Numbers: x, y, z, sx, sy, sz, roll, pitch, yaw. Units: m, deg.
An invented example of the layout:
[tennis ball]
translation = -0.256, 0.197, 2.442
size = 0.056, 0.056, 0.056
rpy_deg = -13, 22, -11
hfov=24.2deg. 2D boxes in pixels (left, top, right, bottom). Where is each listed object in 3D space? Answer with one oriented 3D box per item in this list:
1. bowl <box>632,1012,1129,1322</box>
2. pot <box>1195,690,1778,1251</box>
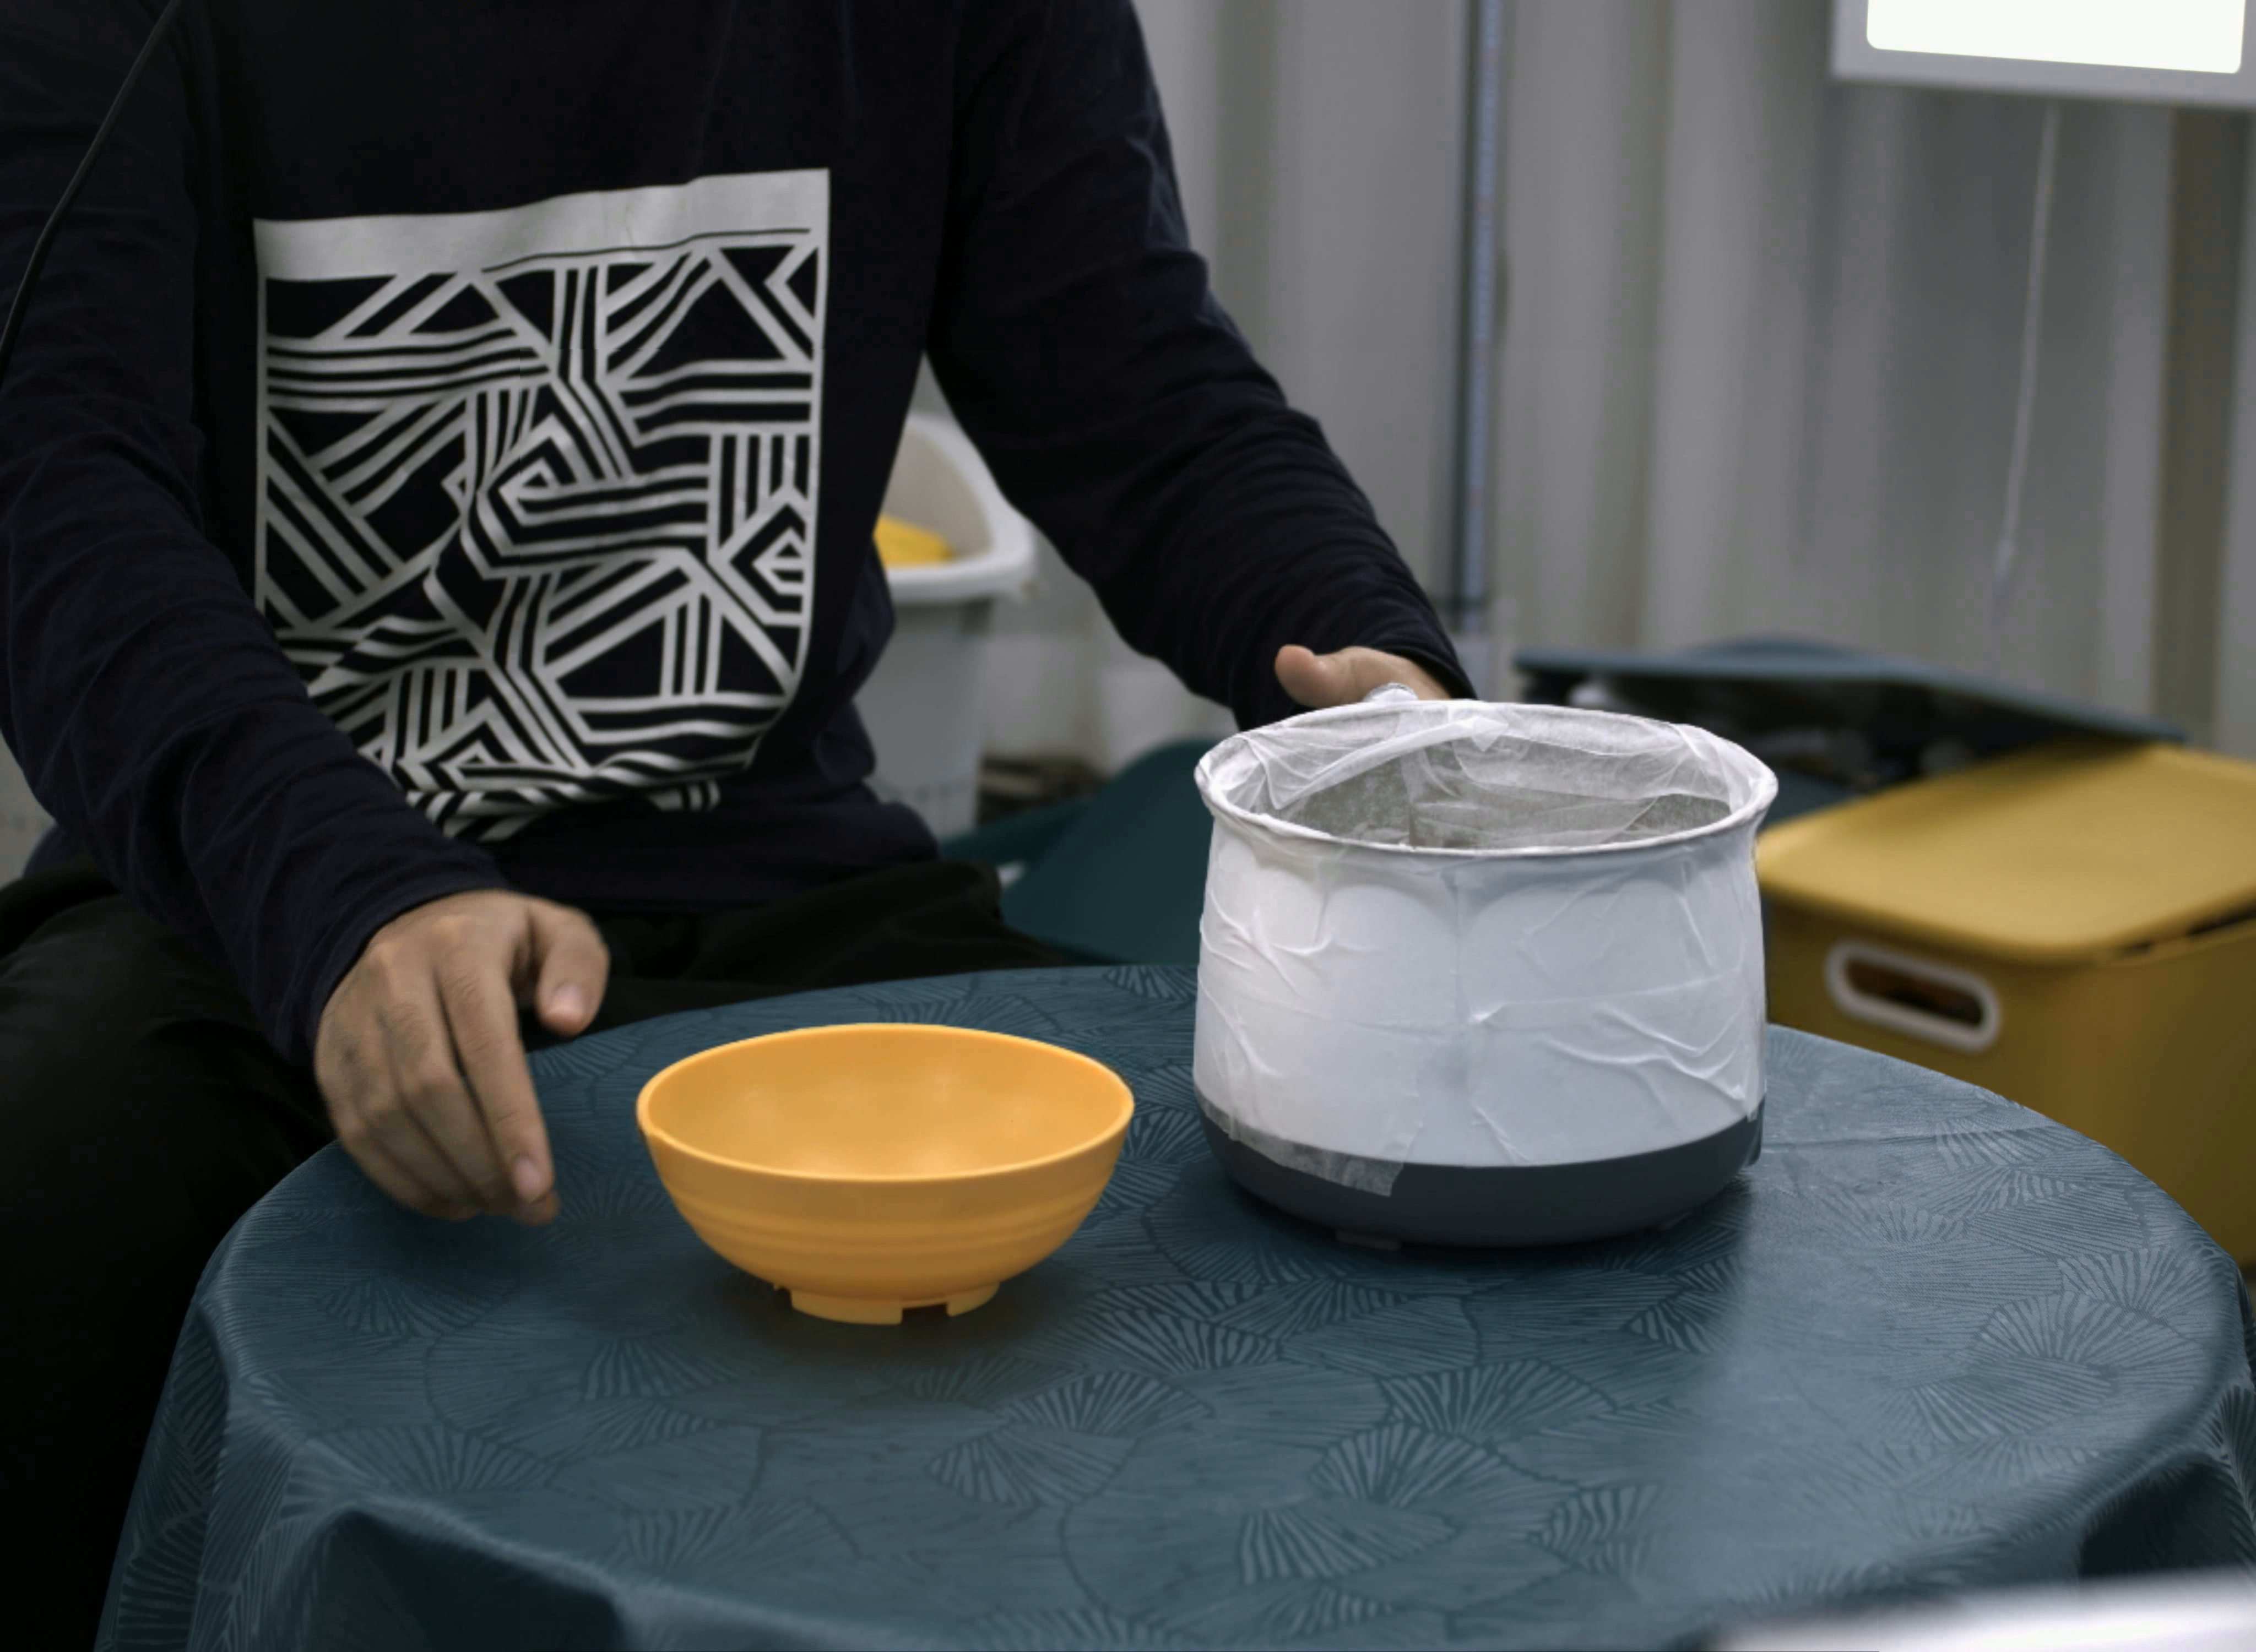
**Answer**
[bowl]
translation = -0.072, 0.104, 1.533
size = 0.145, 0.060, 0.144
rpy_deg = 2, 17, 0
[pot]
translation = 0.102, 0.040, 1.642
size = 0.179, 0.137, 0.231
rpy_deg = -4, 15, -14
